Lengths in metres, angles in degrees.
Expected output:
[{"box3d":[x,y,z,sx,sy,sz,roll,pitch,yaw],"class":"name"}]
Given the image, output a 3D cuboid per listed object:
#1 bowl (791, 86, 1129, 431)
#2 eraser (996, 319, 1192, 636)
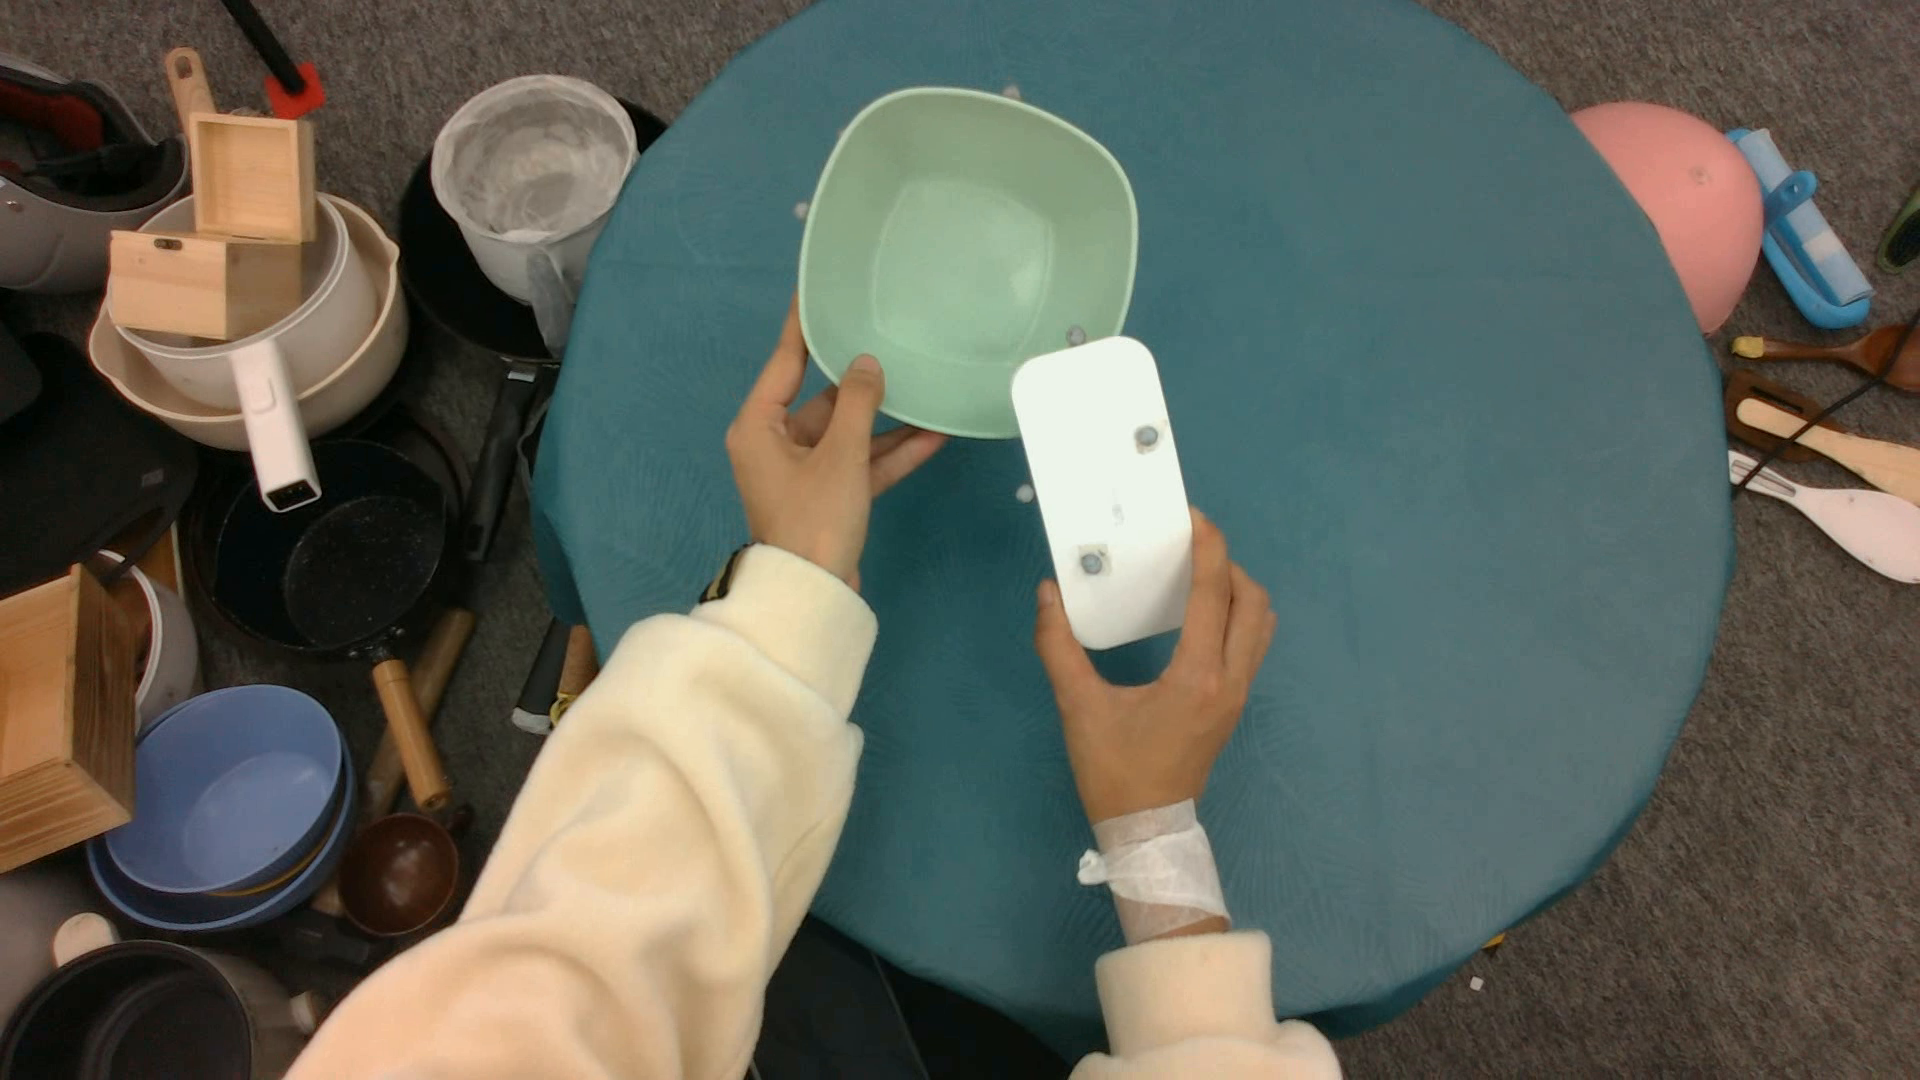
[{"box3d":[-0.001,-0.121,0.604,0.151,0.059,0.151,-1,99,-4],"class":"bowl"},{"box3d":[0.055,-0.025,0.581,0.063,0.034,0.131,-15,105,-4],"class":"eraser"}]
